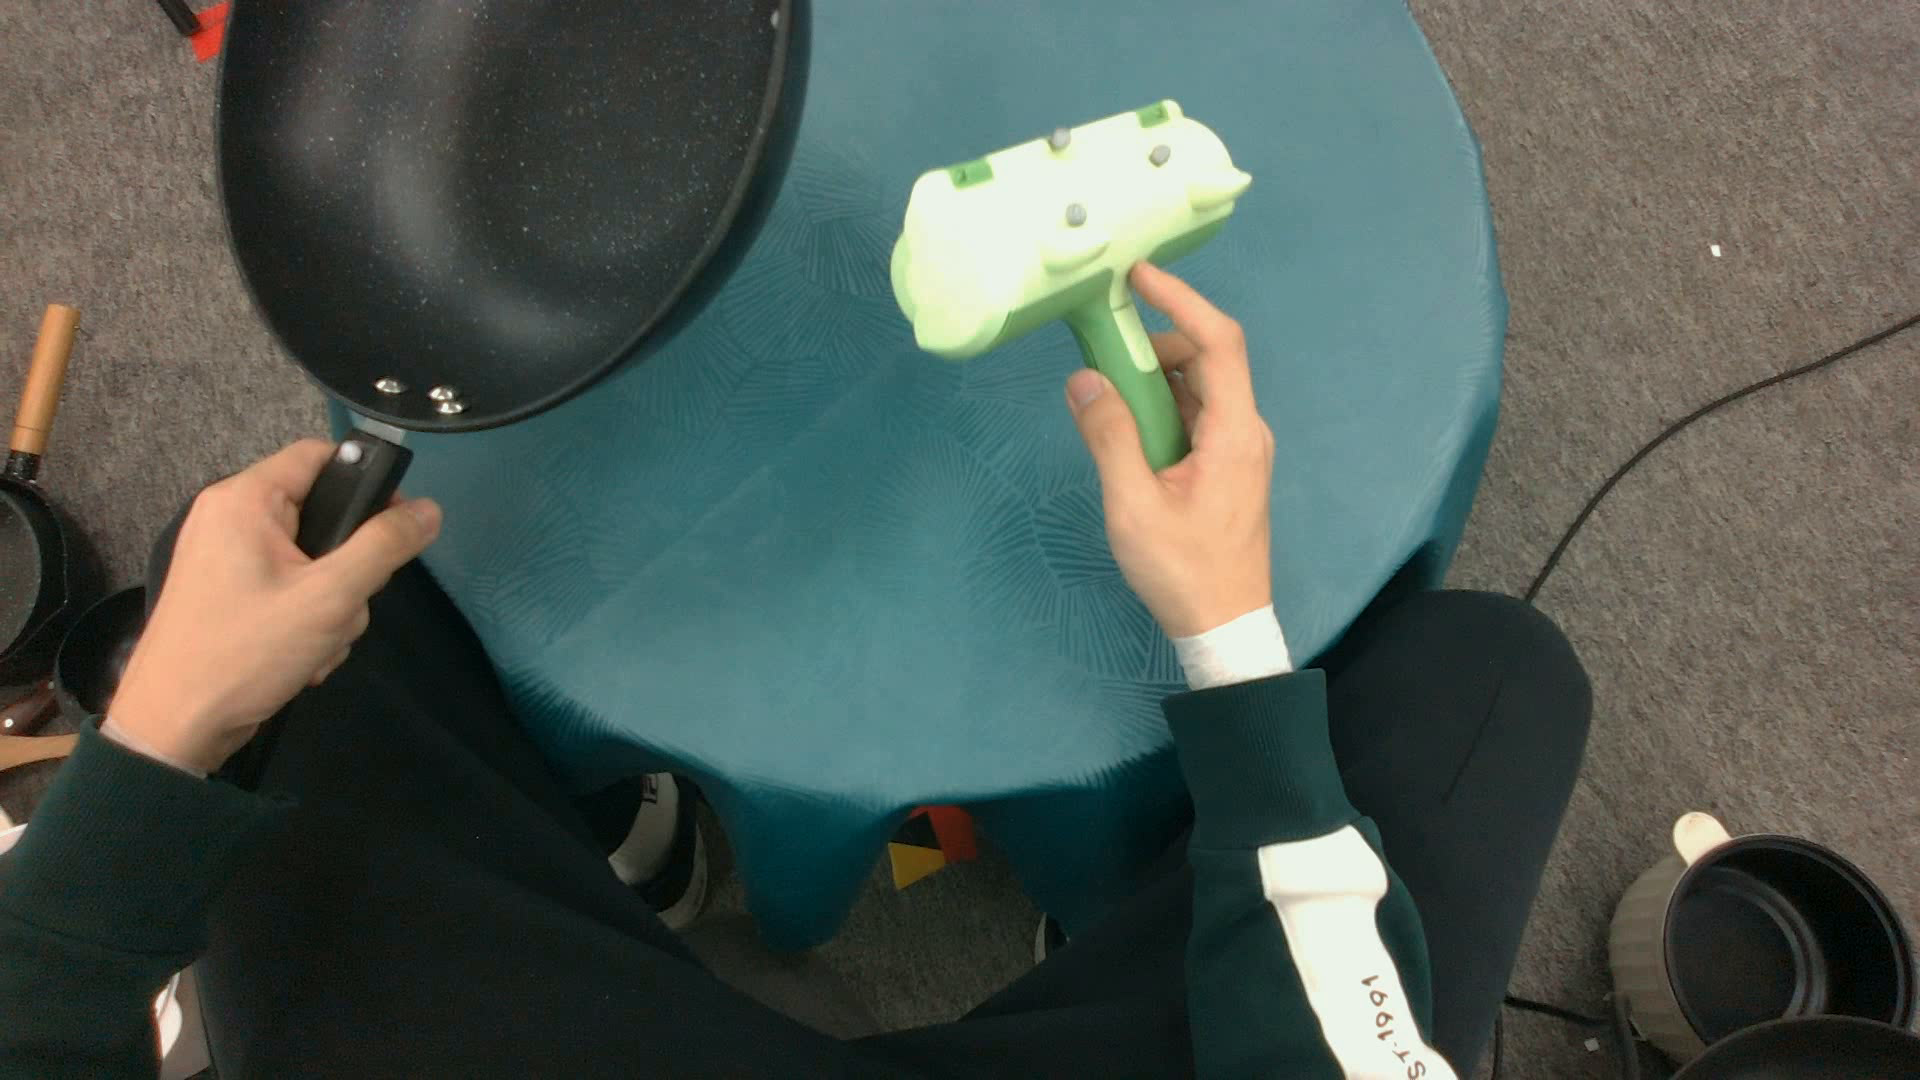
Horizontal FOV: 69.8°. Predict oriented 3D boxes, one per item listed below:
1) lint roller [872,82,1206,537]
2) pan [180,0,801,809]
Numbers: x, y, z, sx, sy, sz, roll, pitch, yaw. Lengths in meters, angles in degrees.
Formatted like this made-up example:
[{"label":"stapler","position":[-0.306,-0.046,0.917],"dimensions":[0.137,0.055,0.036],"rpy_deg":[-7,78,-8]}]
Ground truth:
[{"label":"lint roller","position":[0.064,-0.092,0.559],"dimensions":[0.199,0.082,0.183],"rpy_deg":[-37,102,-53]},{"label":"pan","position":[-0.211,-0.119,0.573],"dimensions":[0.310,0.112,0.476],"rpy_deg":[19,95,26]}]
